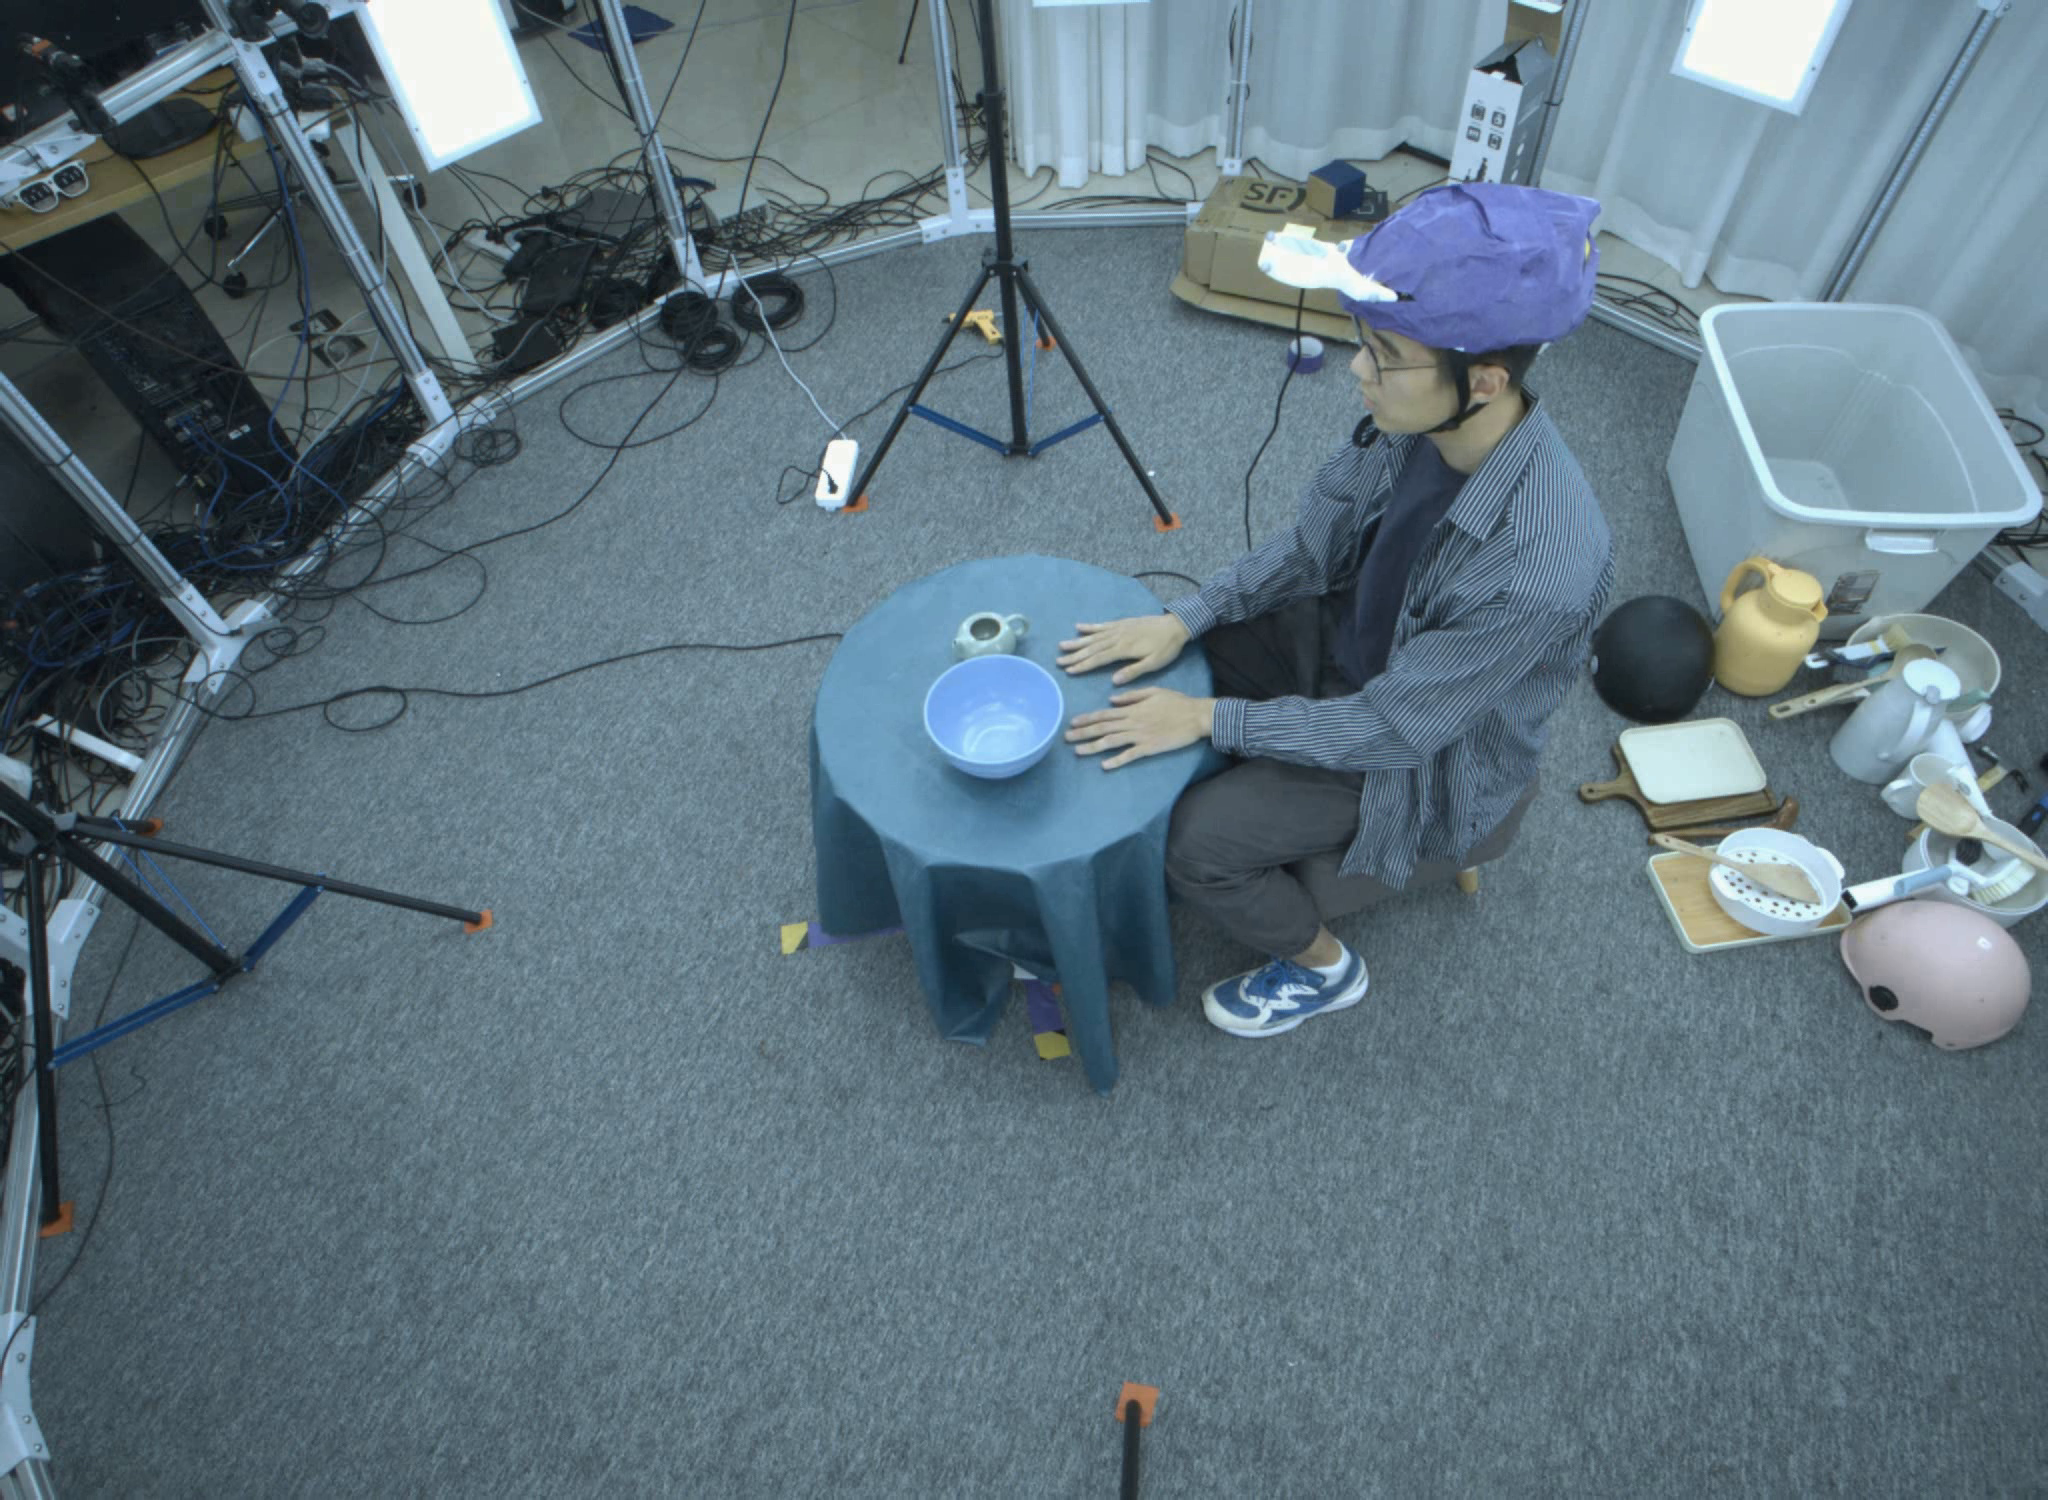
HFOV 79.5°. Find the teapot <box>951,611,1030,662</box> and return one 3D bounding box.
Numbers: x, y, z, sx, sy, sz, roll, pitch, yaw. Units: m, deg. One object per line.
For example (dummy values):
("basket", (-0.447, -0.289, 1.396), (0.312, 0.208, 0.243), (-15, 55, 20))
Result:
("teapot", (-0.051, -0.173, 1.880), (0.129, 0.061, 0.090), (-21, 55, -14))

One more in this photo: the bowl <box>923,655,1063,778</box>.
("bowl", (-0.041, -0.033, 1.759), (0.196, 0.096, 0.194), (0, 54, 2))
